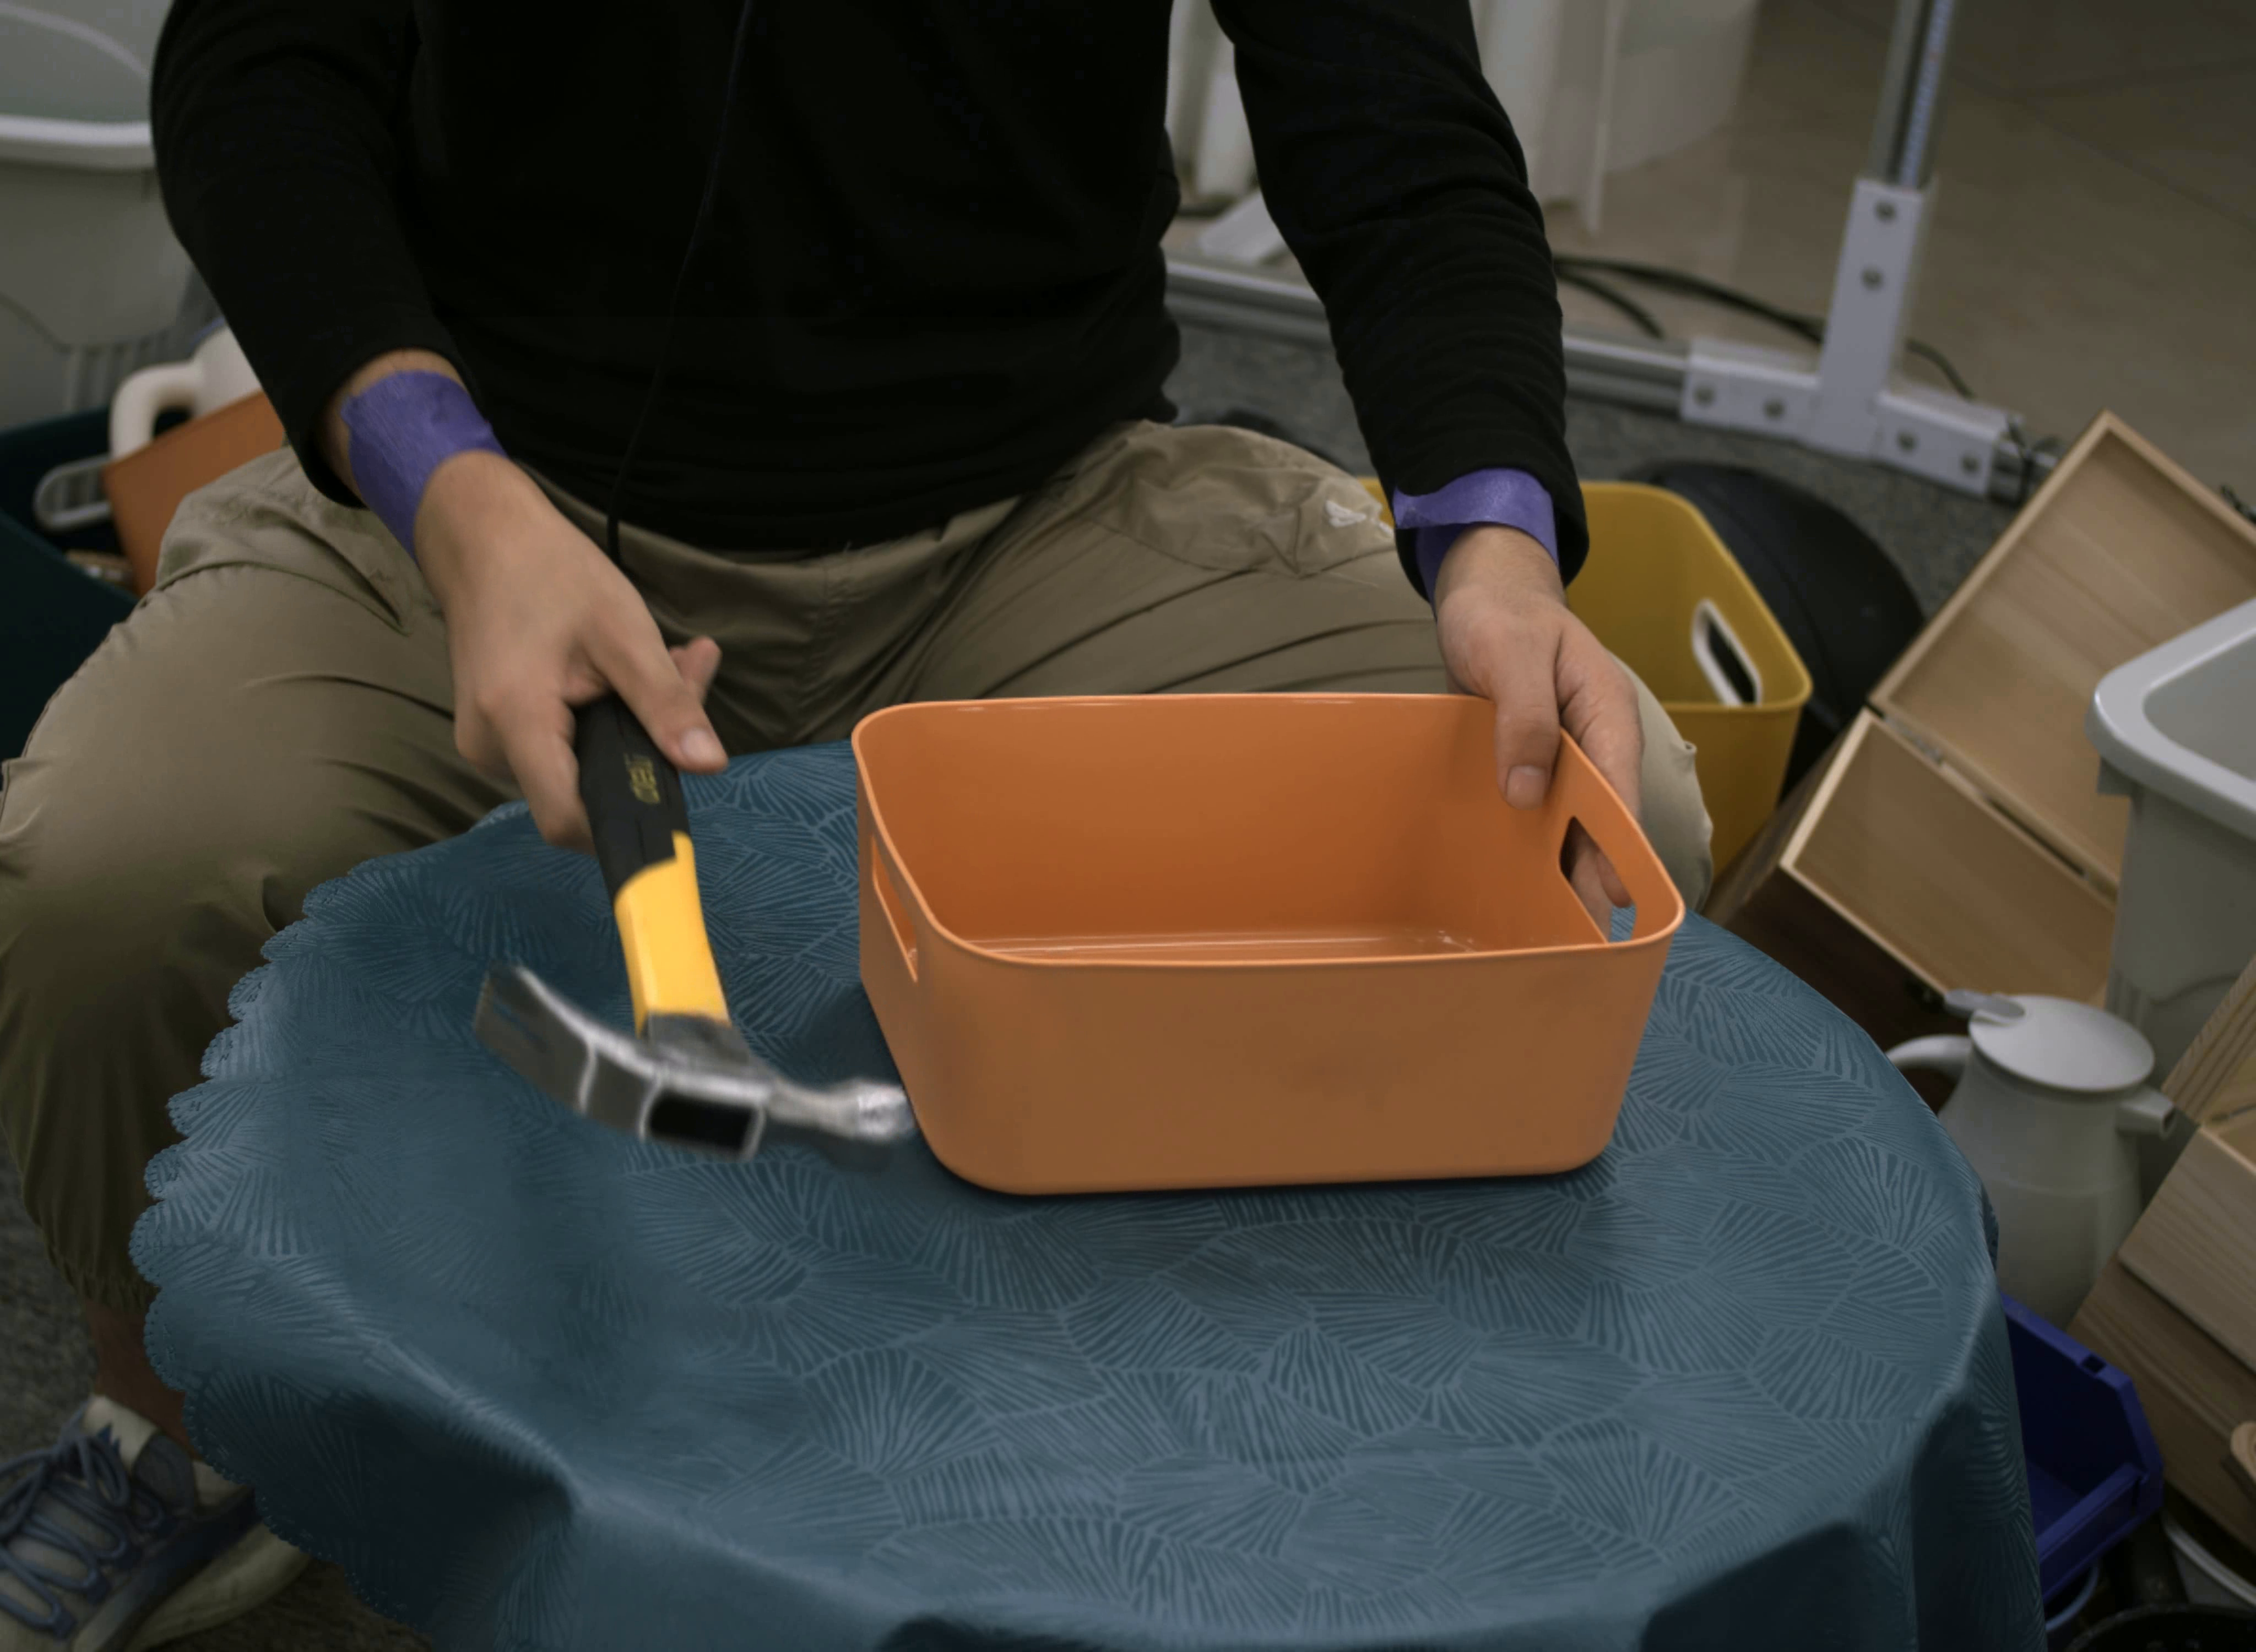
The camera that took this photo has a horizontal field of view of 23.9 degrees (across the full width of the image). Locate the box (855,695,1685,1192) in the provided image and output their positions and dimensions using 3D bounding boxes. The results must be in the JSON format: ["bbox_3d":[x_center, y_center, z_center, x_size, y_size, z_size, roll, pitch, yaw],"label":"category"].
[{"bbox_3d":[0.041,0.041,1.864,0.271,0.102,0.201,-1,27,-16],"label":"box"}]

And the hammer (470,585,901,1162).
[{"bbox_3d":[-0.163,0.004,1.794,0.130,0.032,0.341,12,26,-17],"label":"hammer"}]
